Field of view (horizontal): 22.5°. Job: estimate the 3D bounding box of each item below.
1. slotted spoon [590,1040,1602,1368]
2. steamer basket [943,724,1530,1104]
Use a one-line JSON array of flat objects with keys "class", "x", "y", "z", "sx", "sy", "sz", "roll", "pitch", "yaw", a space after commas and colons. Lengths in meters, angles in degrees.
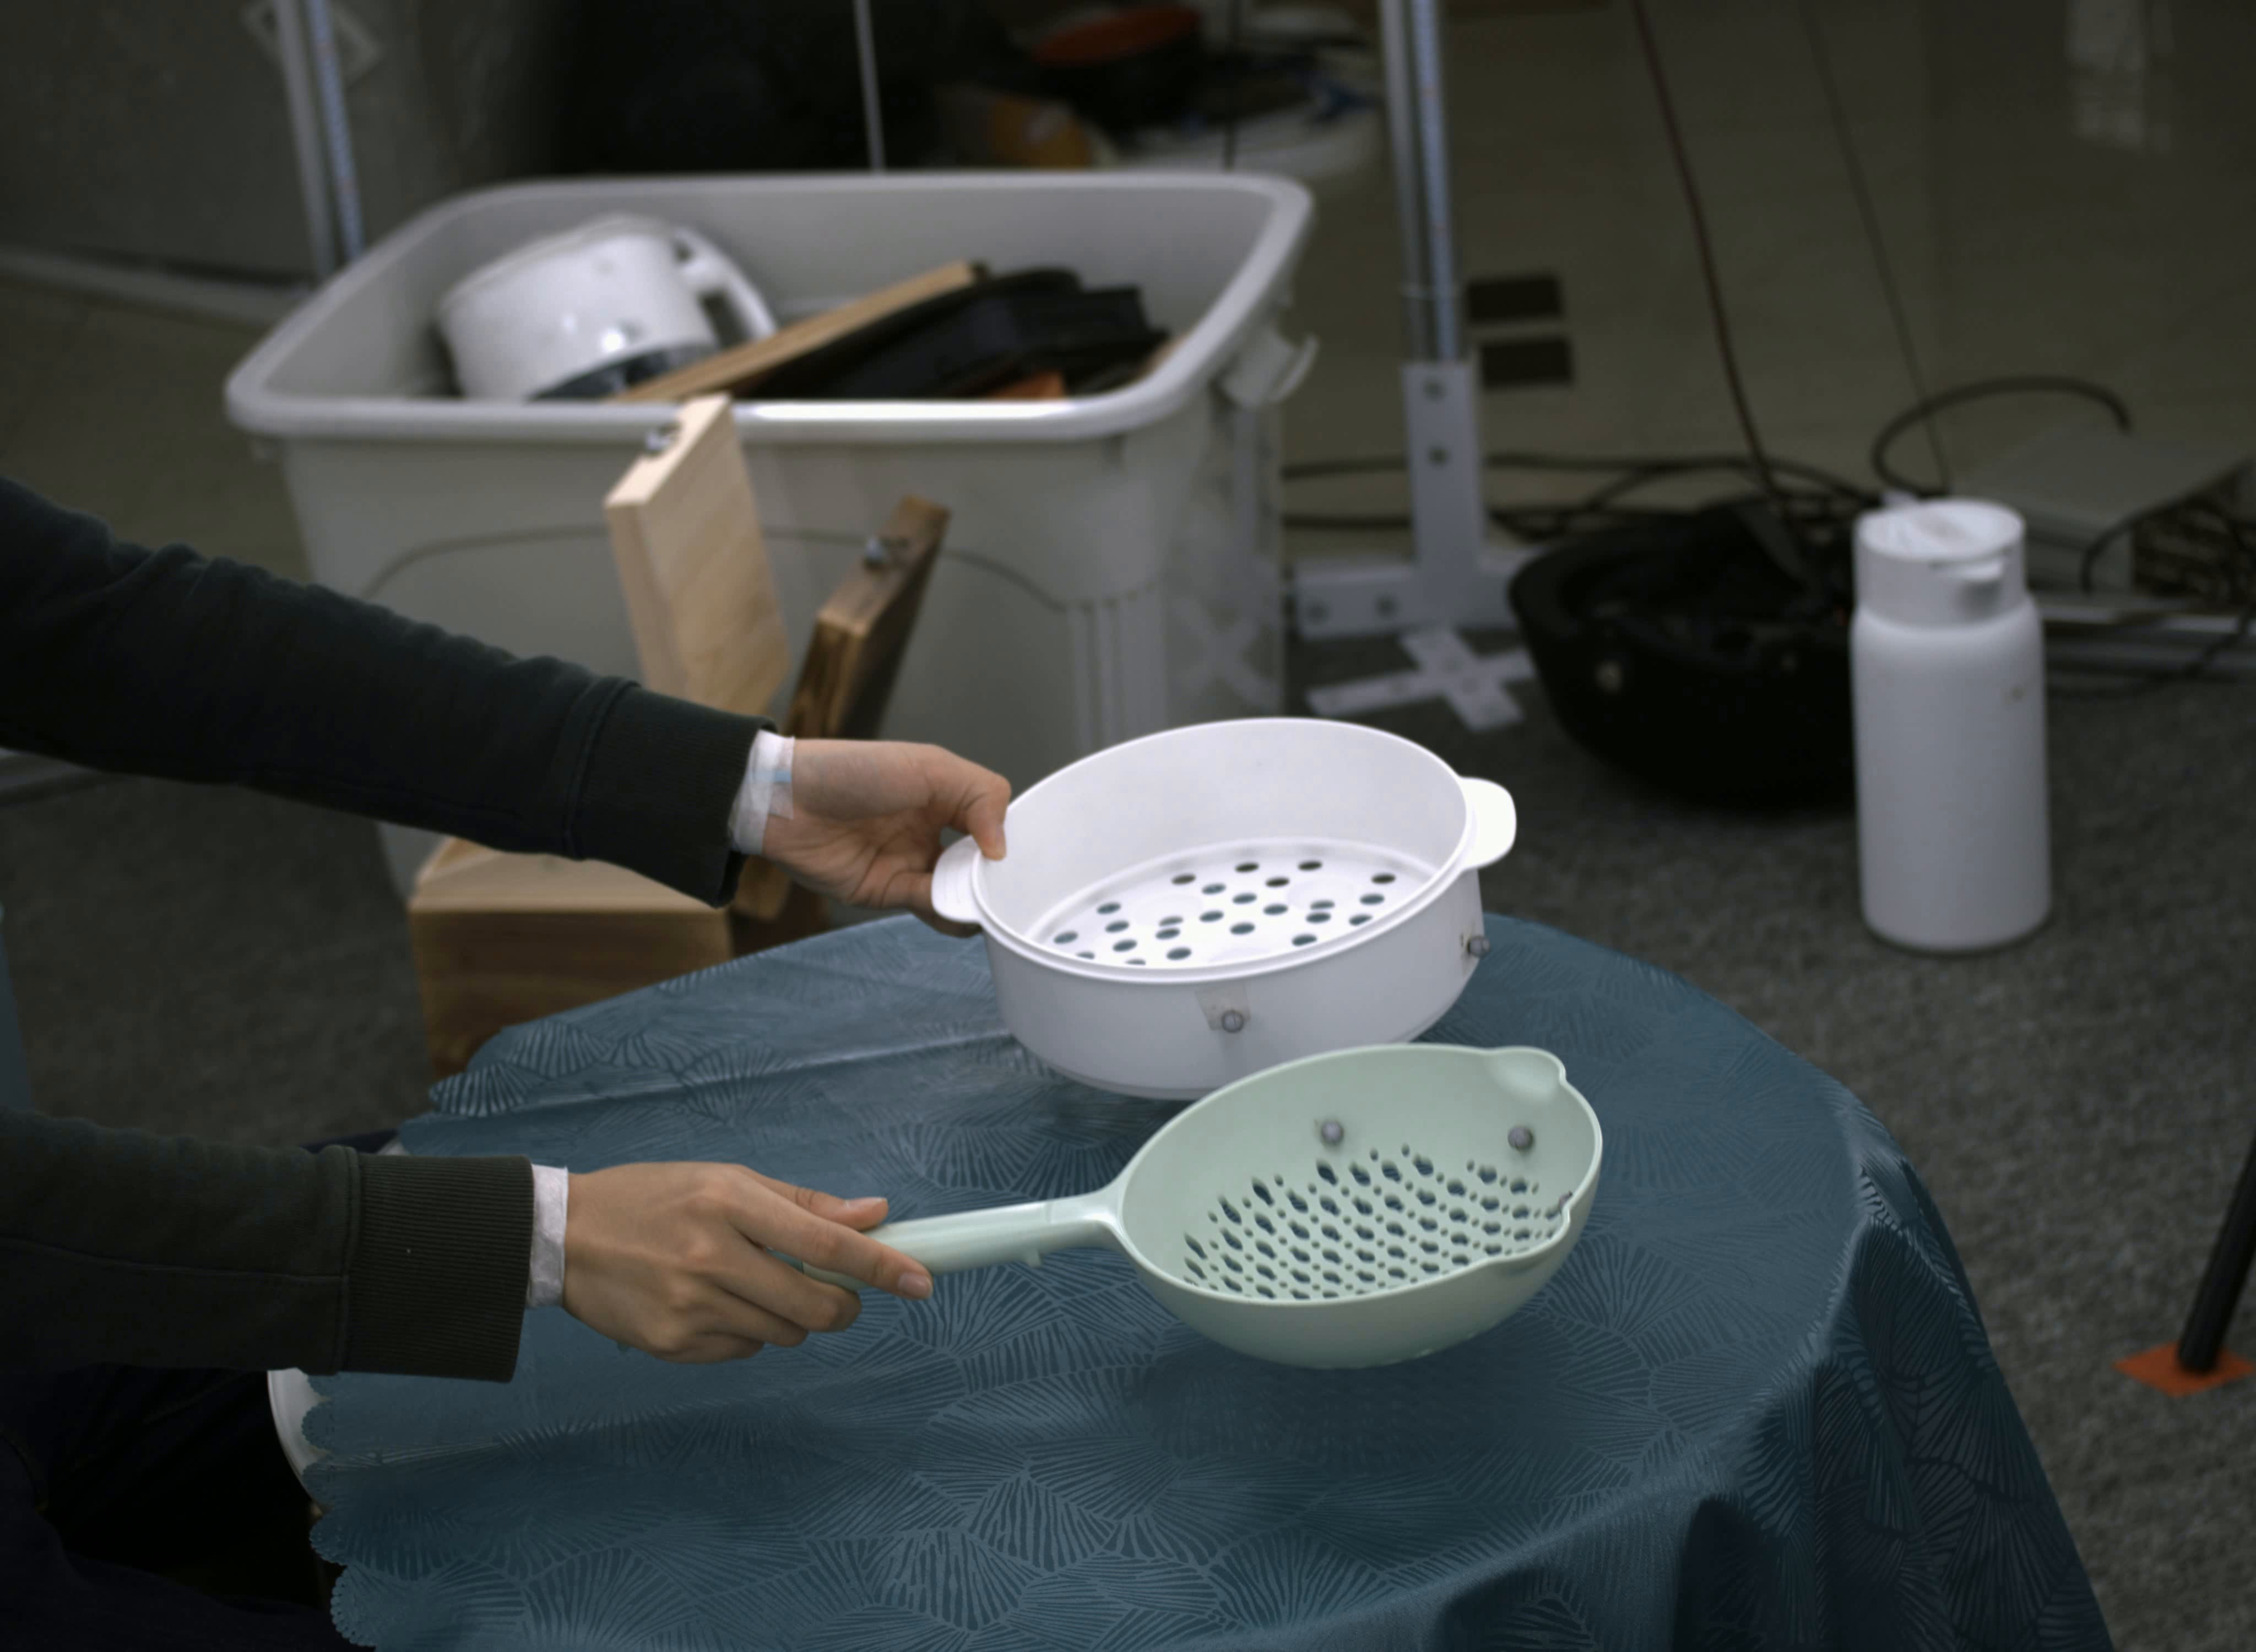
[{"class": "slotted spoon", "x": -0.014, "y": 0.142, "z": 1.984, "sx": 0.358, "sy": 0.076, "sz": 0.167, "roll": -1, "pitch": 28, "yaw": 4}, {"class": "steamer basket", "x": 0.046, "y": 0.035, "z": 2.215, "sx": 0.230, "sy": 0.070, "sz": 0.198, "roll": -7, "pitch": 28, "yaw": 6}]
